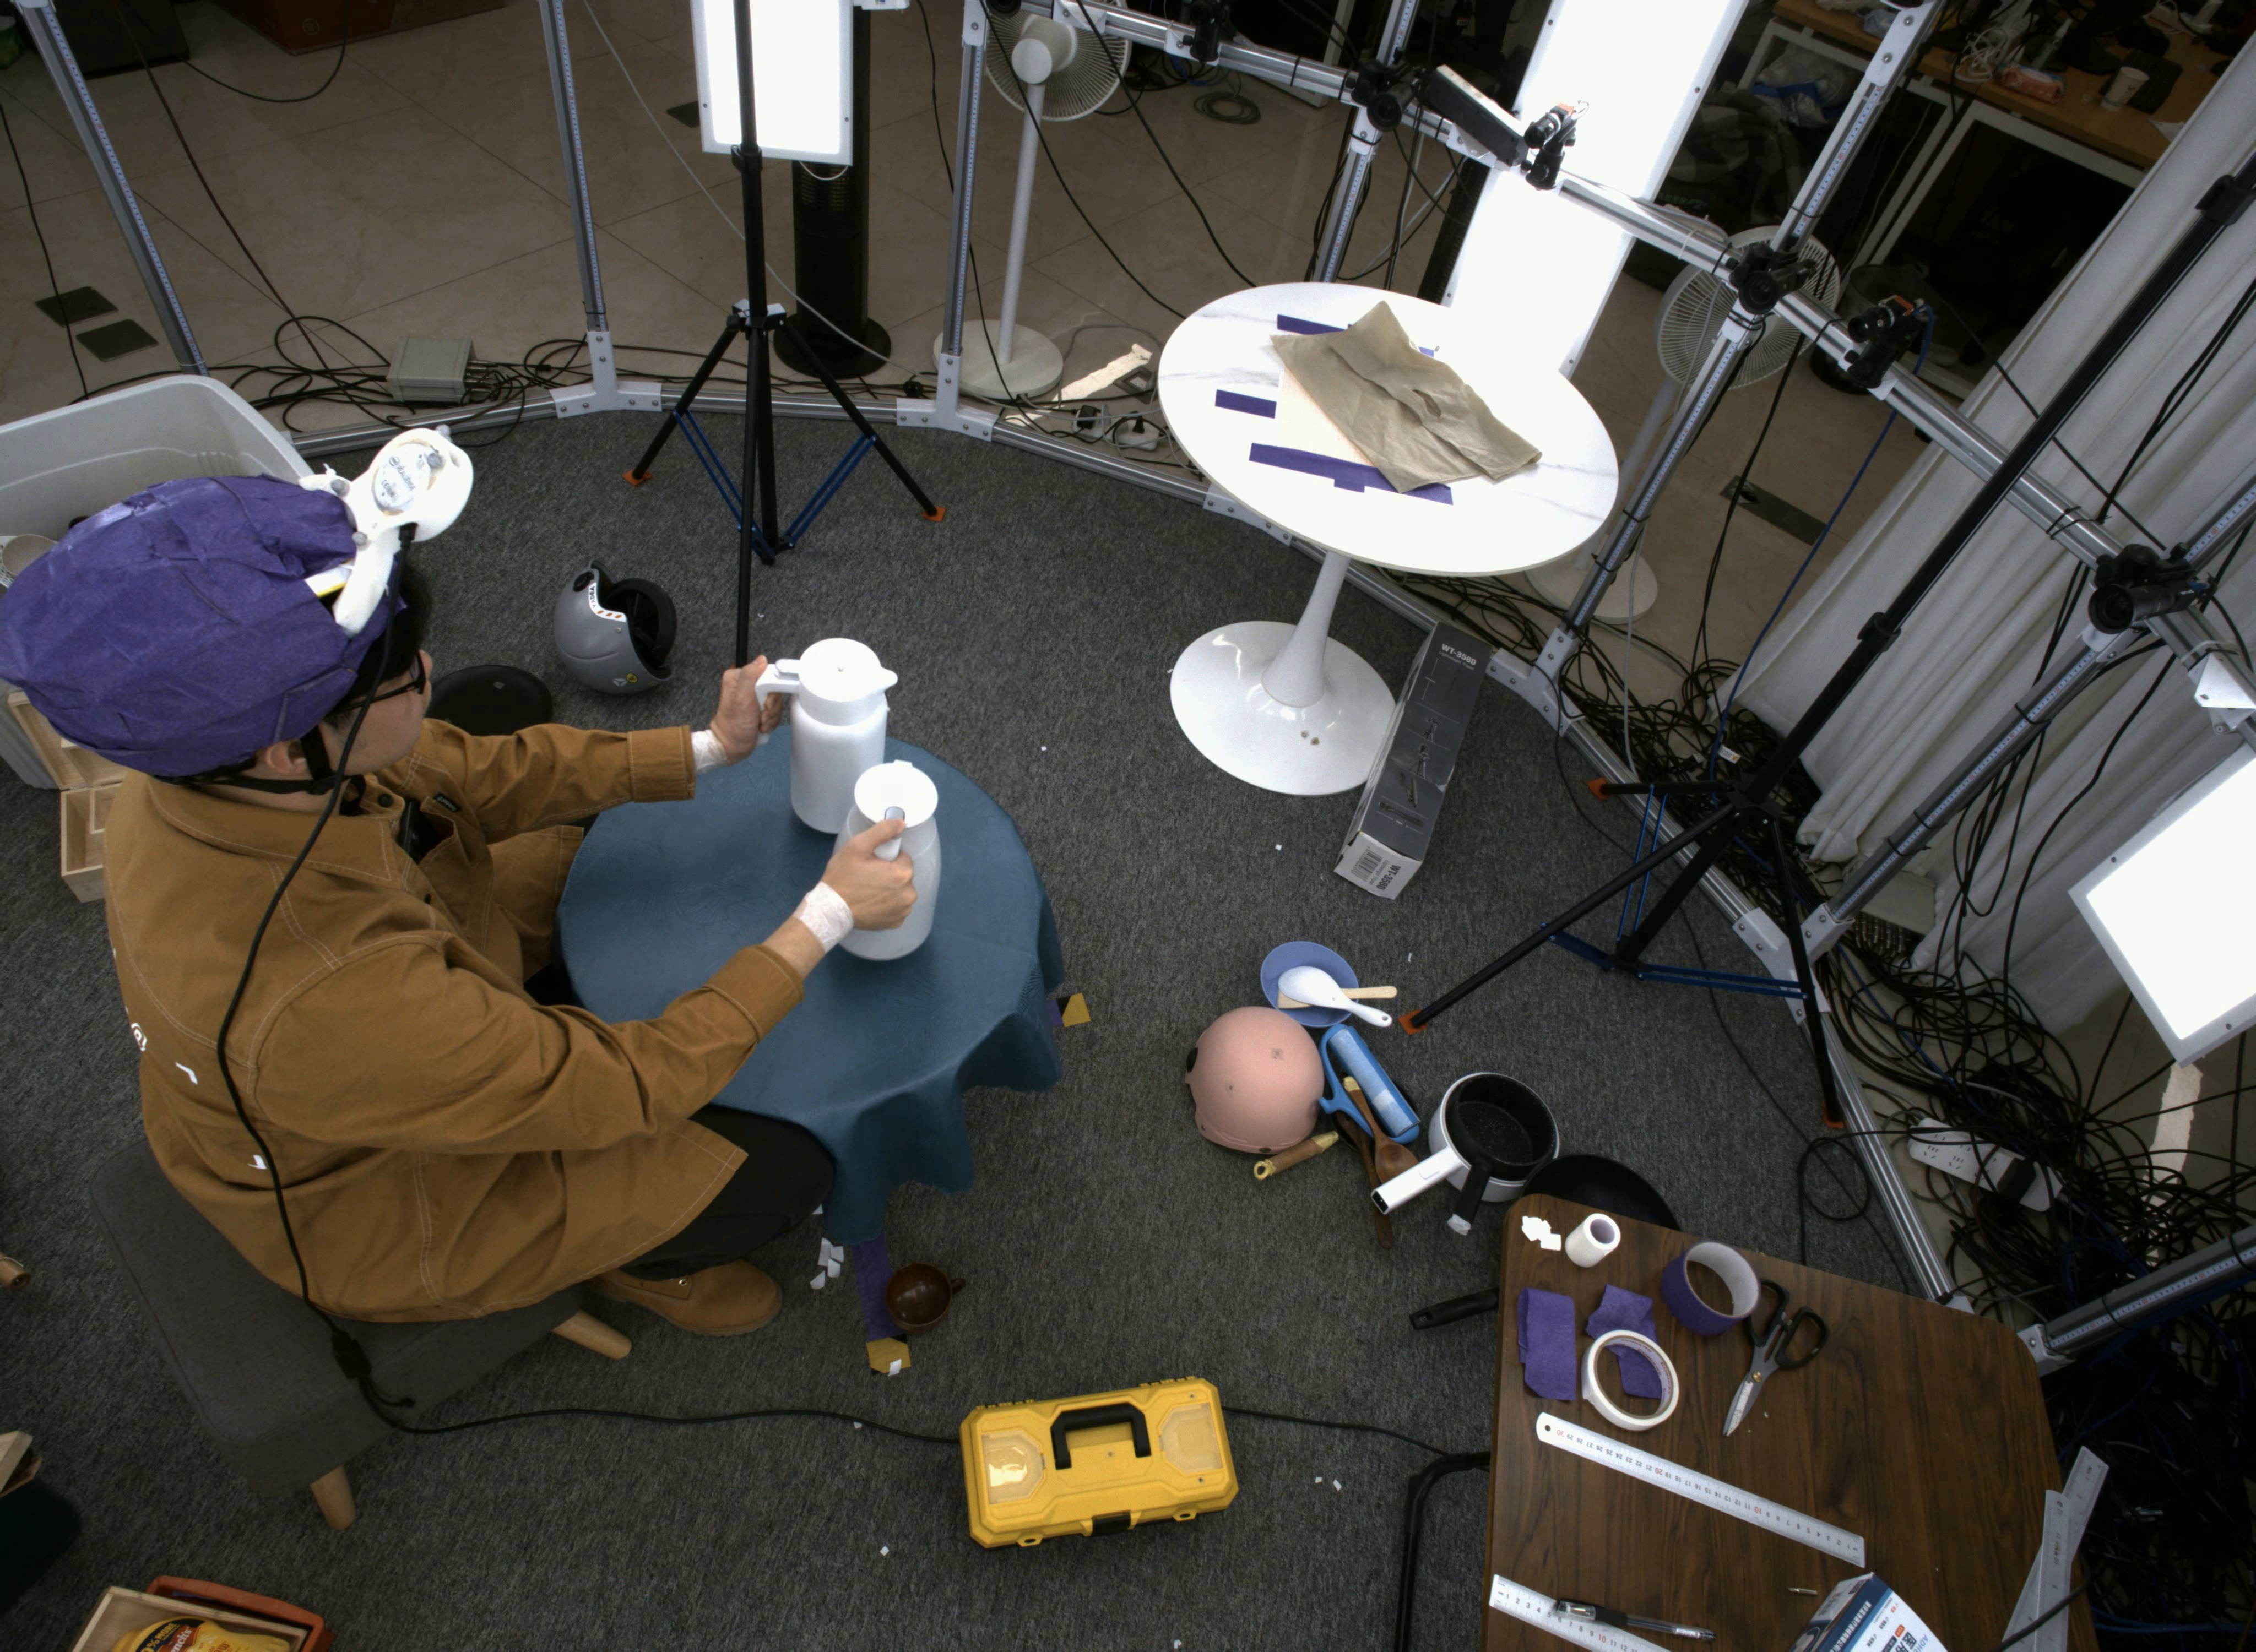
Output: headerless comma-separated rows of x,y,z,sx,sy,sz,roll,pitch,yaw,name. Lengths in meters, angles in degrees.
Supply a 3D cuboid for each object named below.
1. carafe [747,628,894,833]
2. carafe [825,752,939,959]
-0.383,-0.114,1.615,0.173,0.273,0.121,1,56,-12,carafe
-0.280,0.045,1.493,0.132,0.253,0.164,8,52,-10,carafe
